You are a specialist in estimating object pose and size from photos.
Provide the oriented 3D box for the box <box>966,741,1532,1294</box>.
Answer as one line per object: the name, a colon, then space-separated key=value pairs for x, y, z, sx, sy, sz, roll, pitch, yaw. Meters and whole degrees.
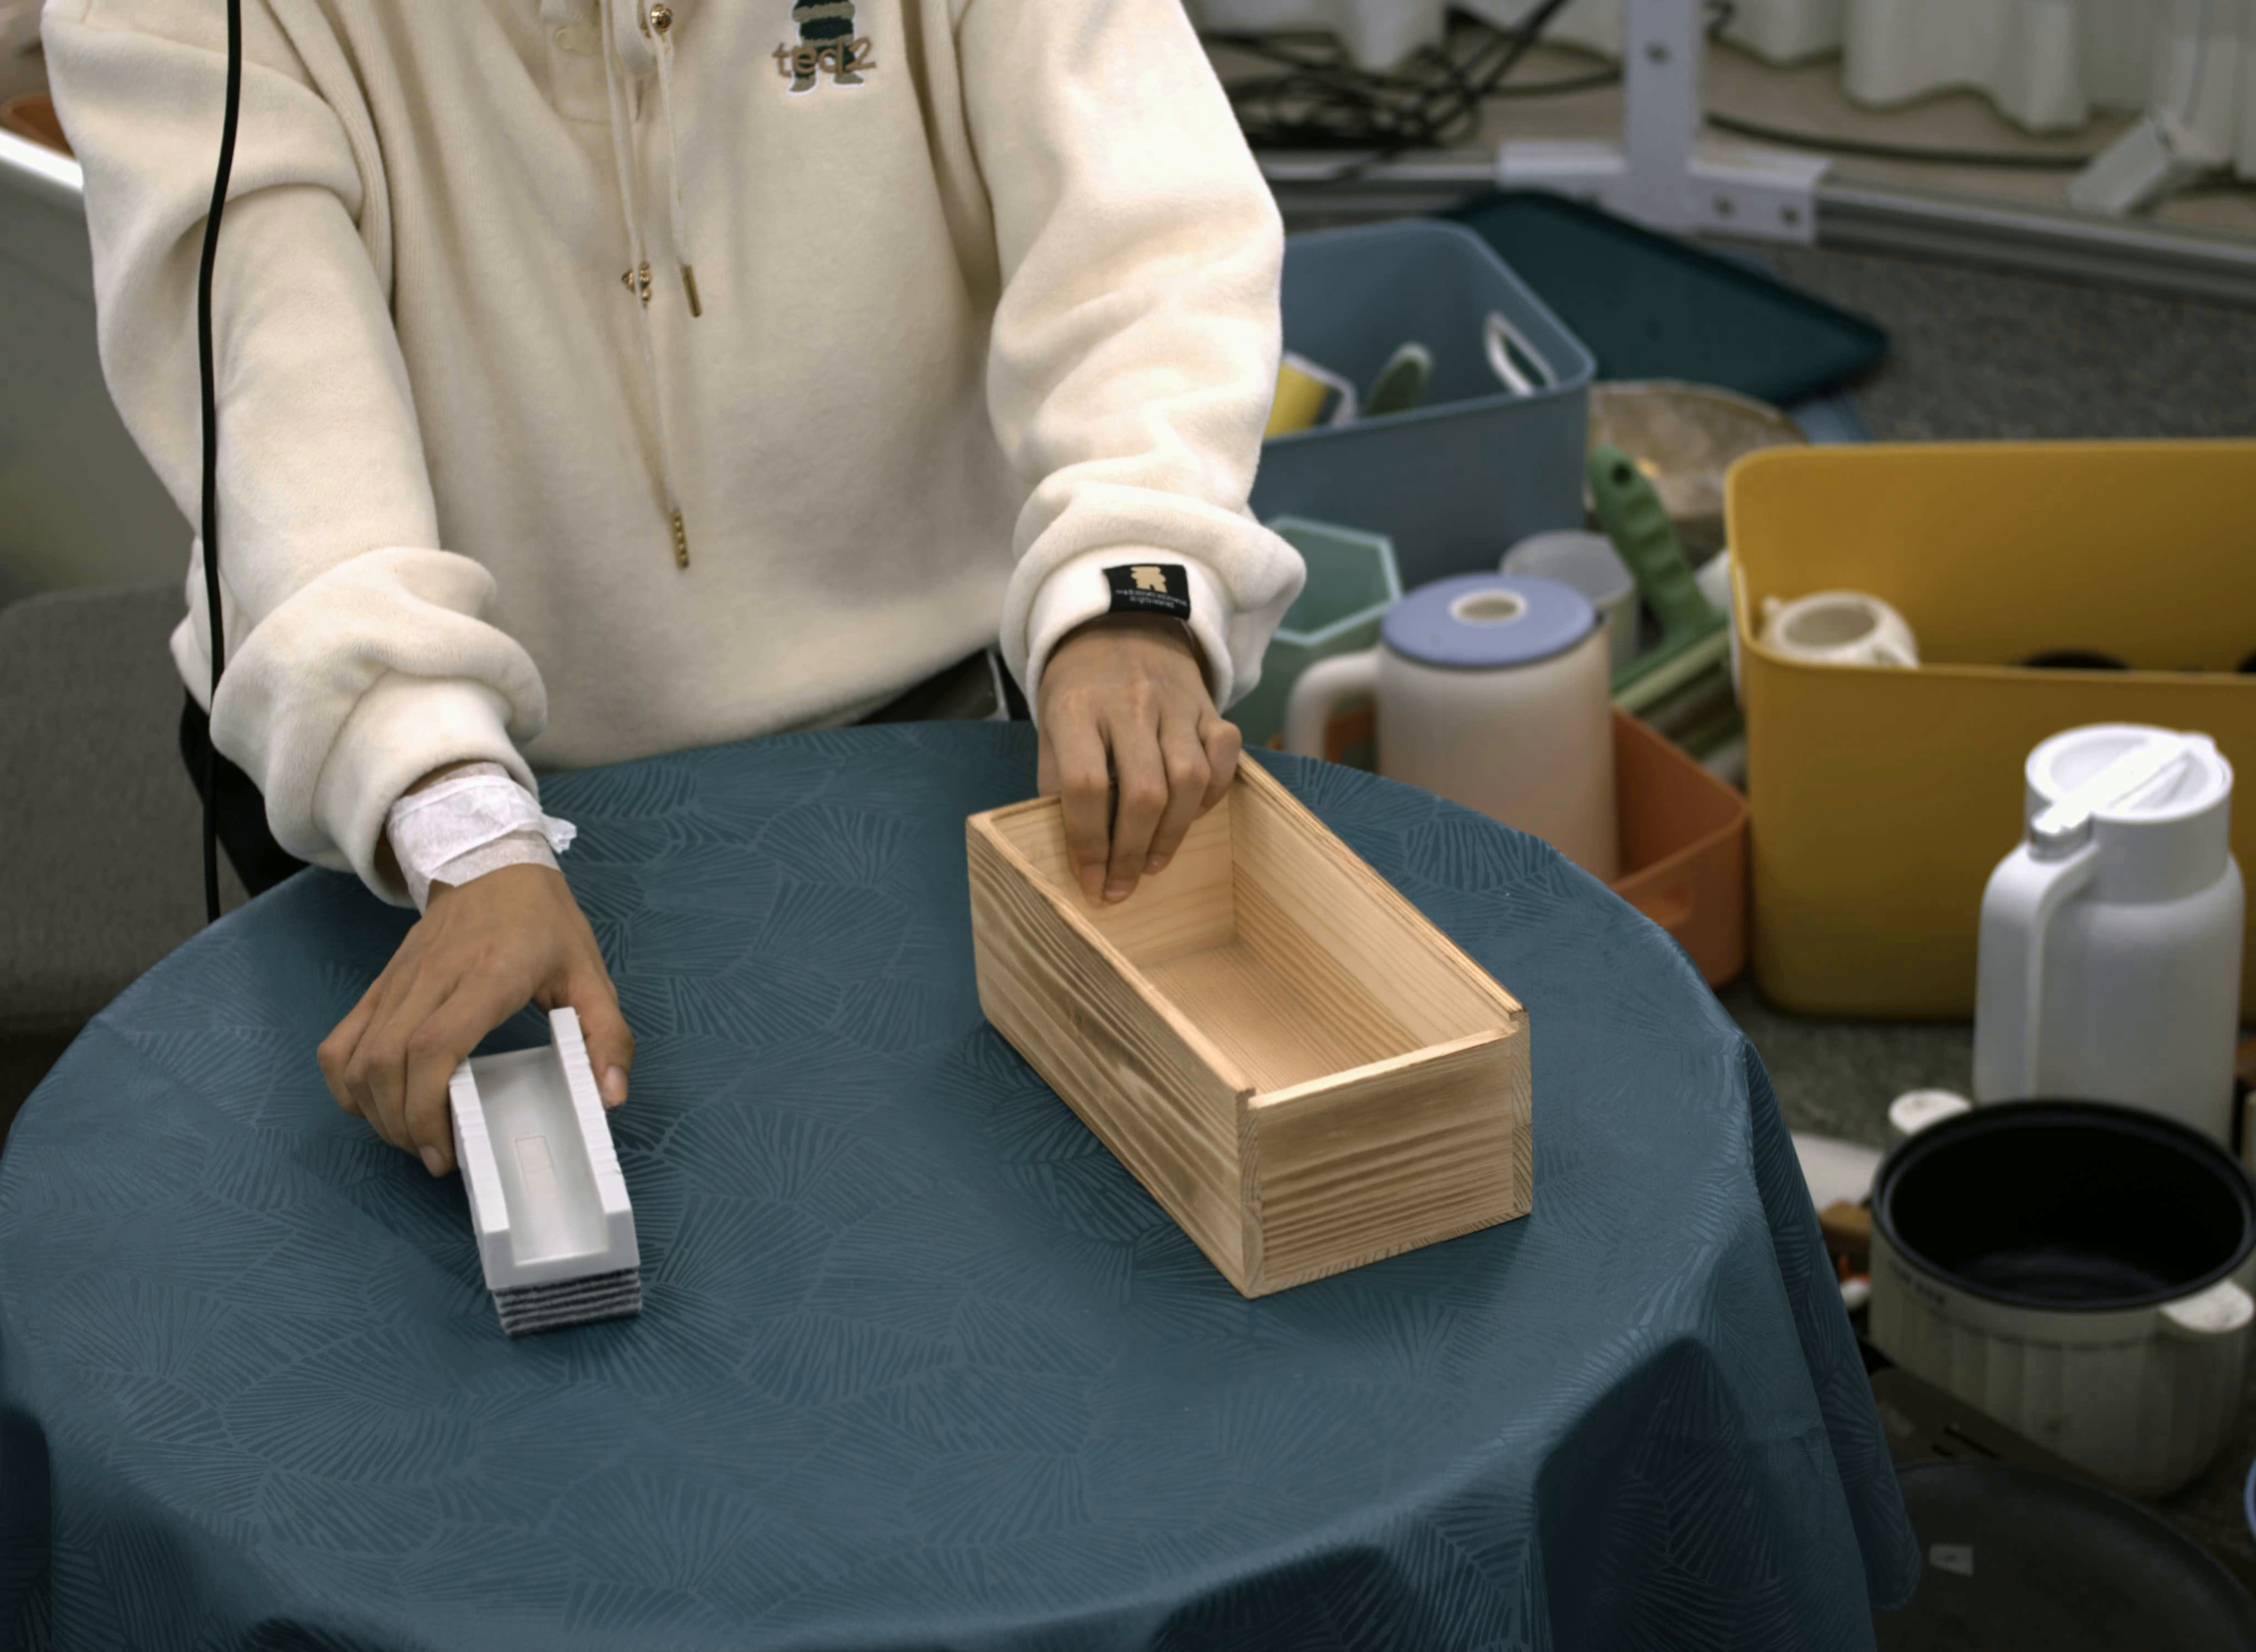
box: x=0.037 y=0.060 z=1.885 sx=0.108 sy=0.079 sz=0.213 roll=-14 pitch=31 yaw=-23

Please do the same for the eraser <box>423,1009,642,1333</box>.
eraser: x=-0.196 y=0.113 z=1.847 sx=0.050 sy=0.046 sz=0.136 roll=-11 pitch=29 yaw=-11
